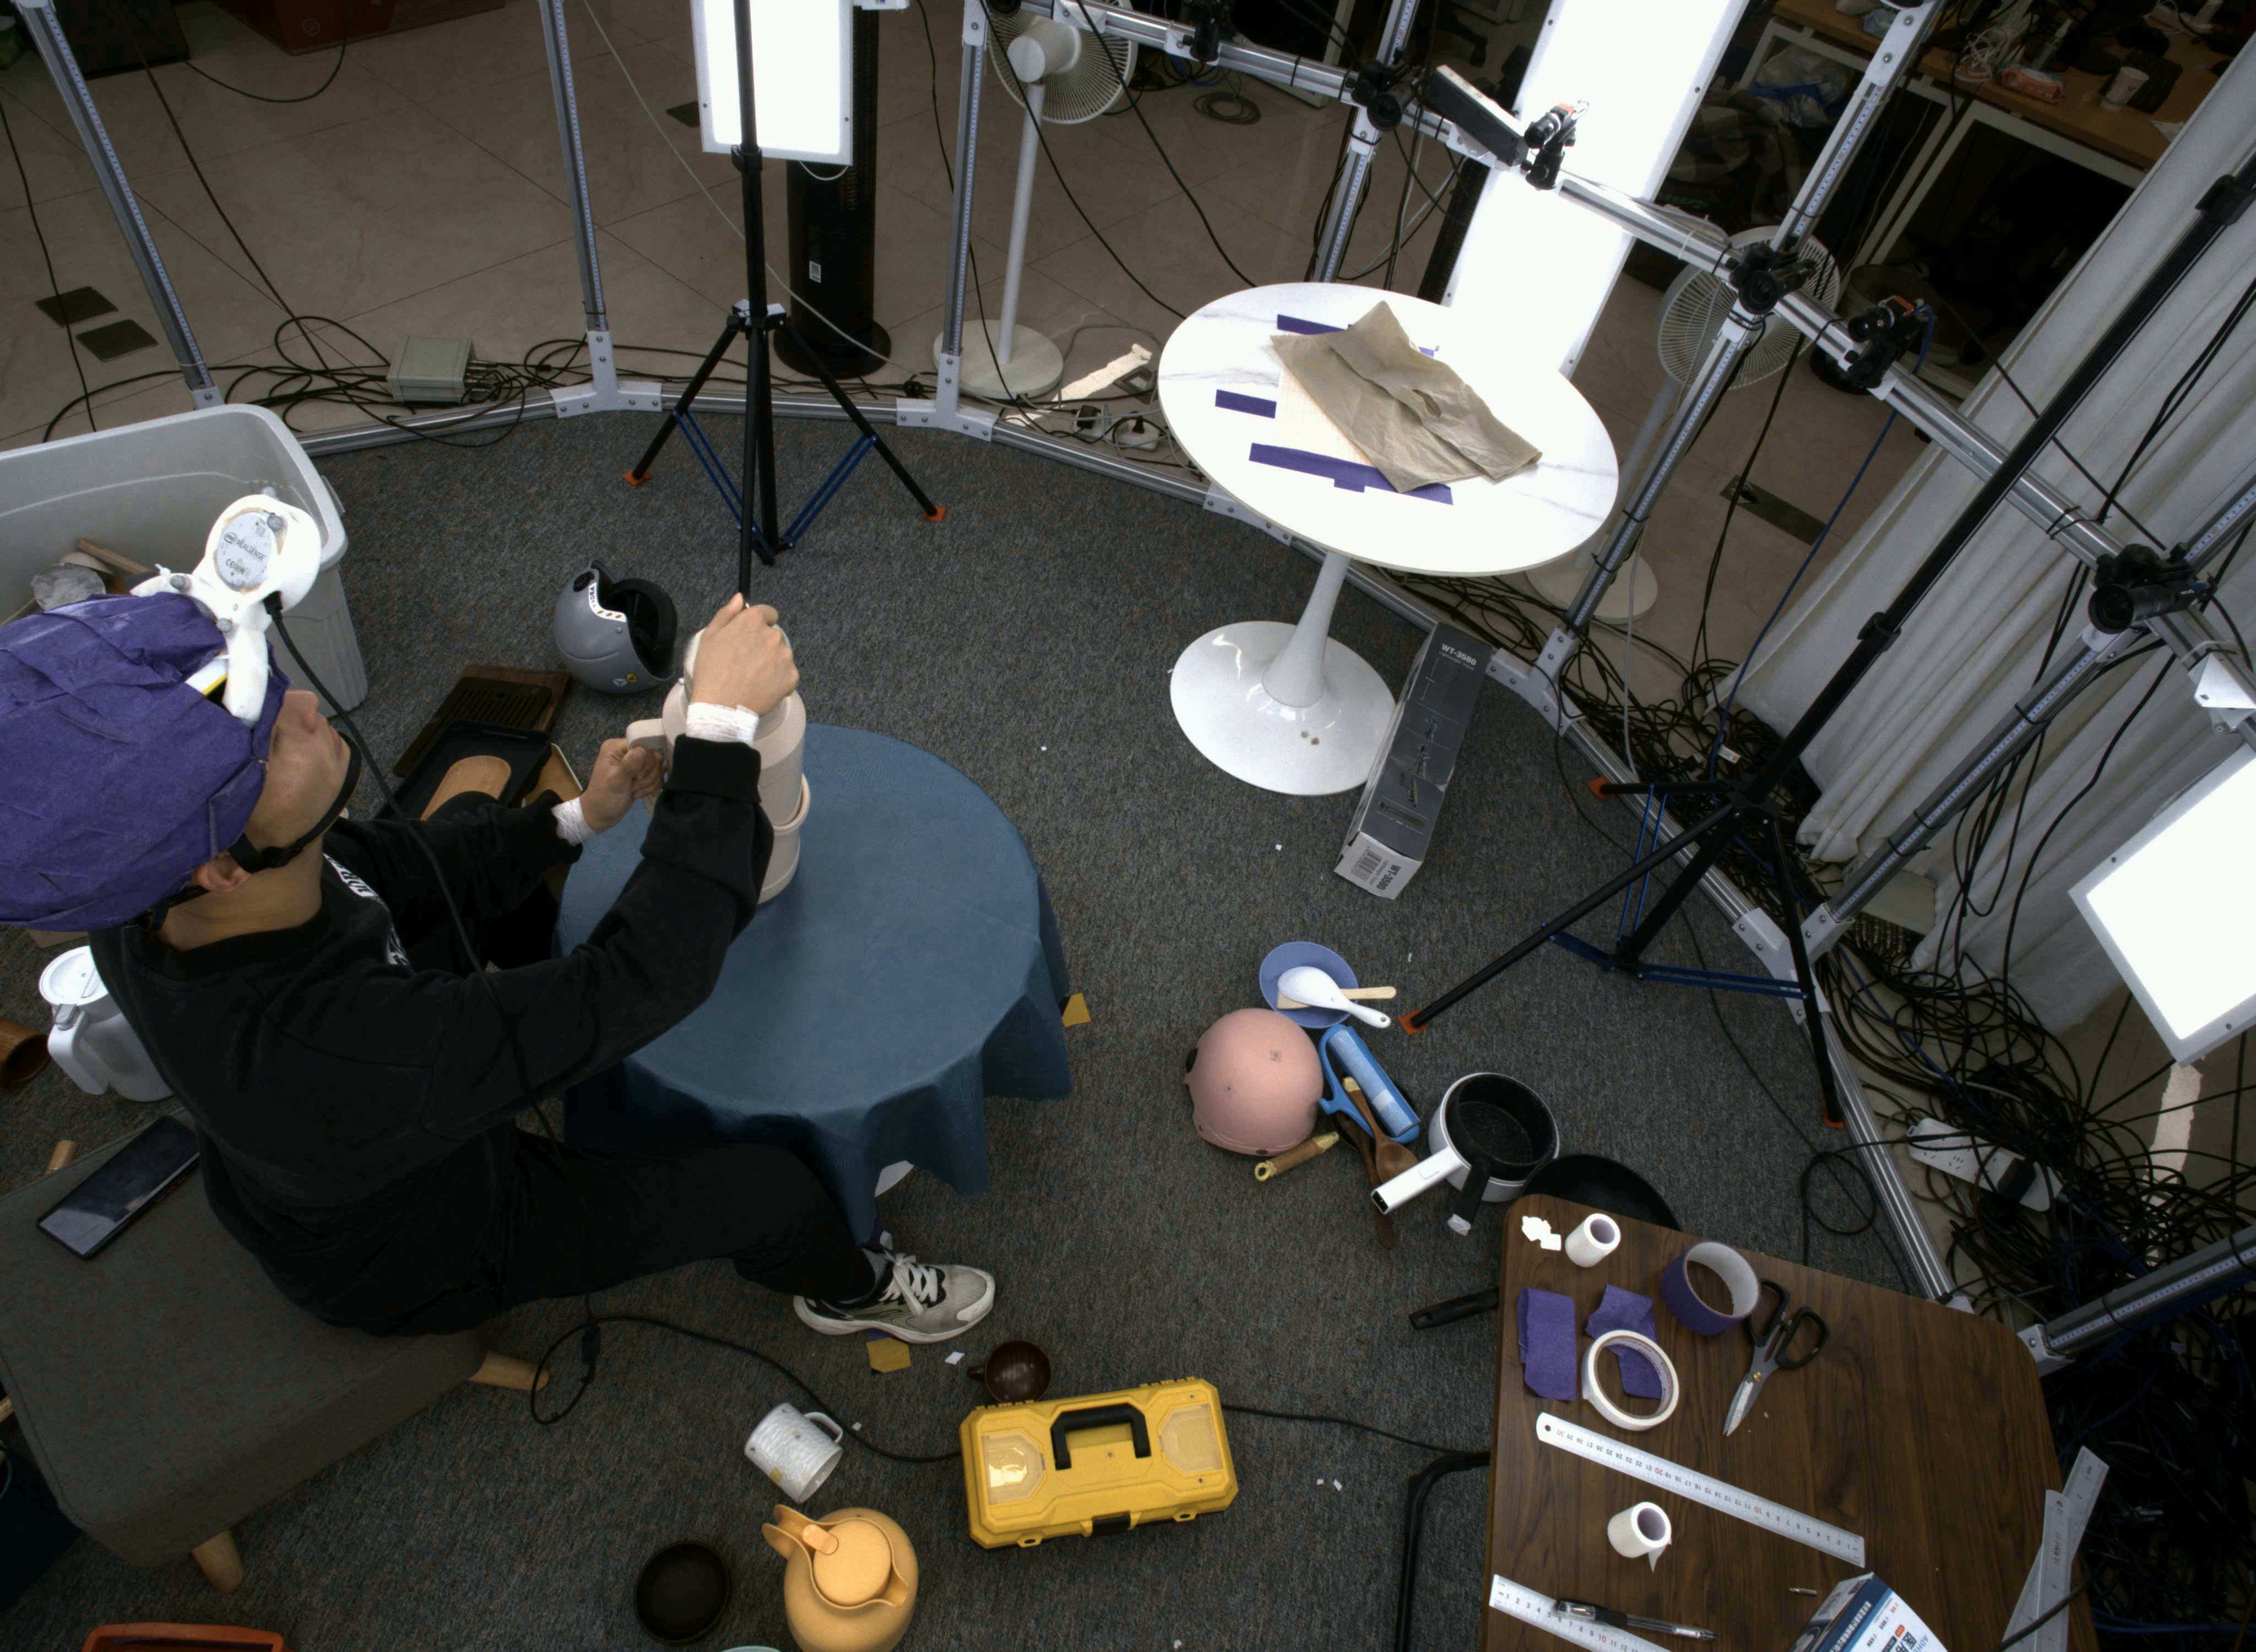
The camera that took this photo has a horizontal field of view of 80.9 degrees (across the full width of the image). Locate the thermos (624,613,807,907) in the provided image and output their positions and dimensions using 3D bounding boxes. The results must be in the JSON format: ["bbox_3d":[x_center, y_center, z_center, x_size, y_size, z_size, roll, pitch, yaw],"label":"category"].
[{"bbox_3d":[-0.476,-0.075,1.498,0.208,0.412,0.172,-10,61,-22],"label":"thermos"}]

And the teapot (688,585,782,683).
[{"bbox_3d":[-0.378,-0.182,1.241,0.092,0.128,0.059,-12,71,-28],"label":"teapot"}]
